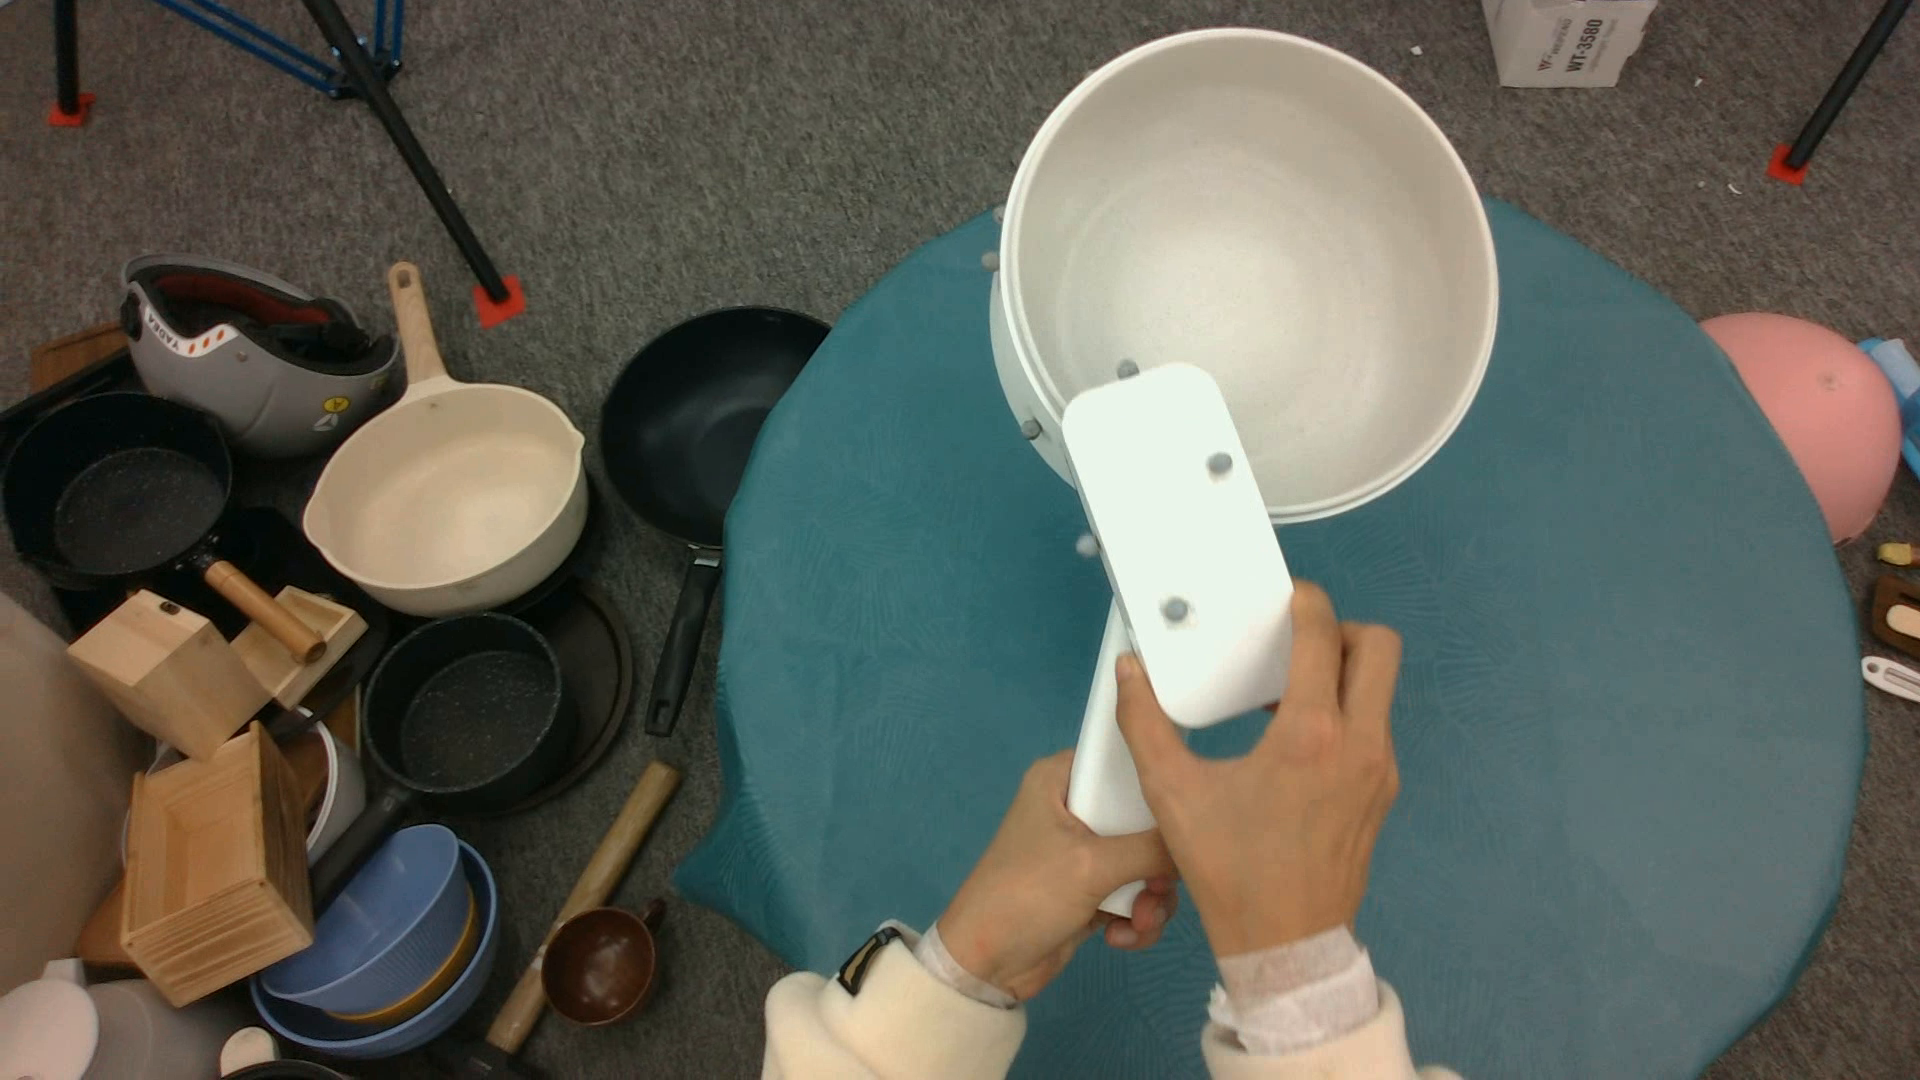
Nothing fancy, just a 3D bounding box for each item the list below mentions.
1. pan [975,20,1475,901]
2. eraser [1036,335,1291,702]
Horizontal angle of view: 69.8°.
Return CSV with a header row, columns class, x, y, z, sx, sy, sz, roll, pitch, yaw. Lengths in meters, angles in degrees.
class,x,y,z,sx,sy,sz,roll,pitch,yaw
pan,0.085,-0.033,0.581,0.201,0.102,0.355,15,83,-4
eraser,0.073,-0.008,0.509,0.063,0.034,0.131,-19,86,-6
